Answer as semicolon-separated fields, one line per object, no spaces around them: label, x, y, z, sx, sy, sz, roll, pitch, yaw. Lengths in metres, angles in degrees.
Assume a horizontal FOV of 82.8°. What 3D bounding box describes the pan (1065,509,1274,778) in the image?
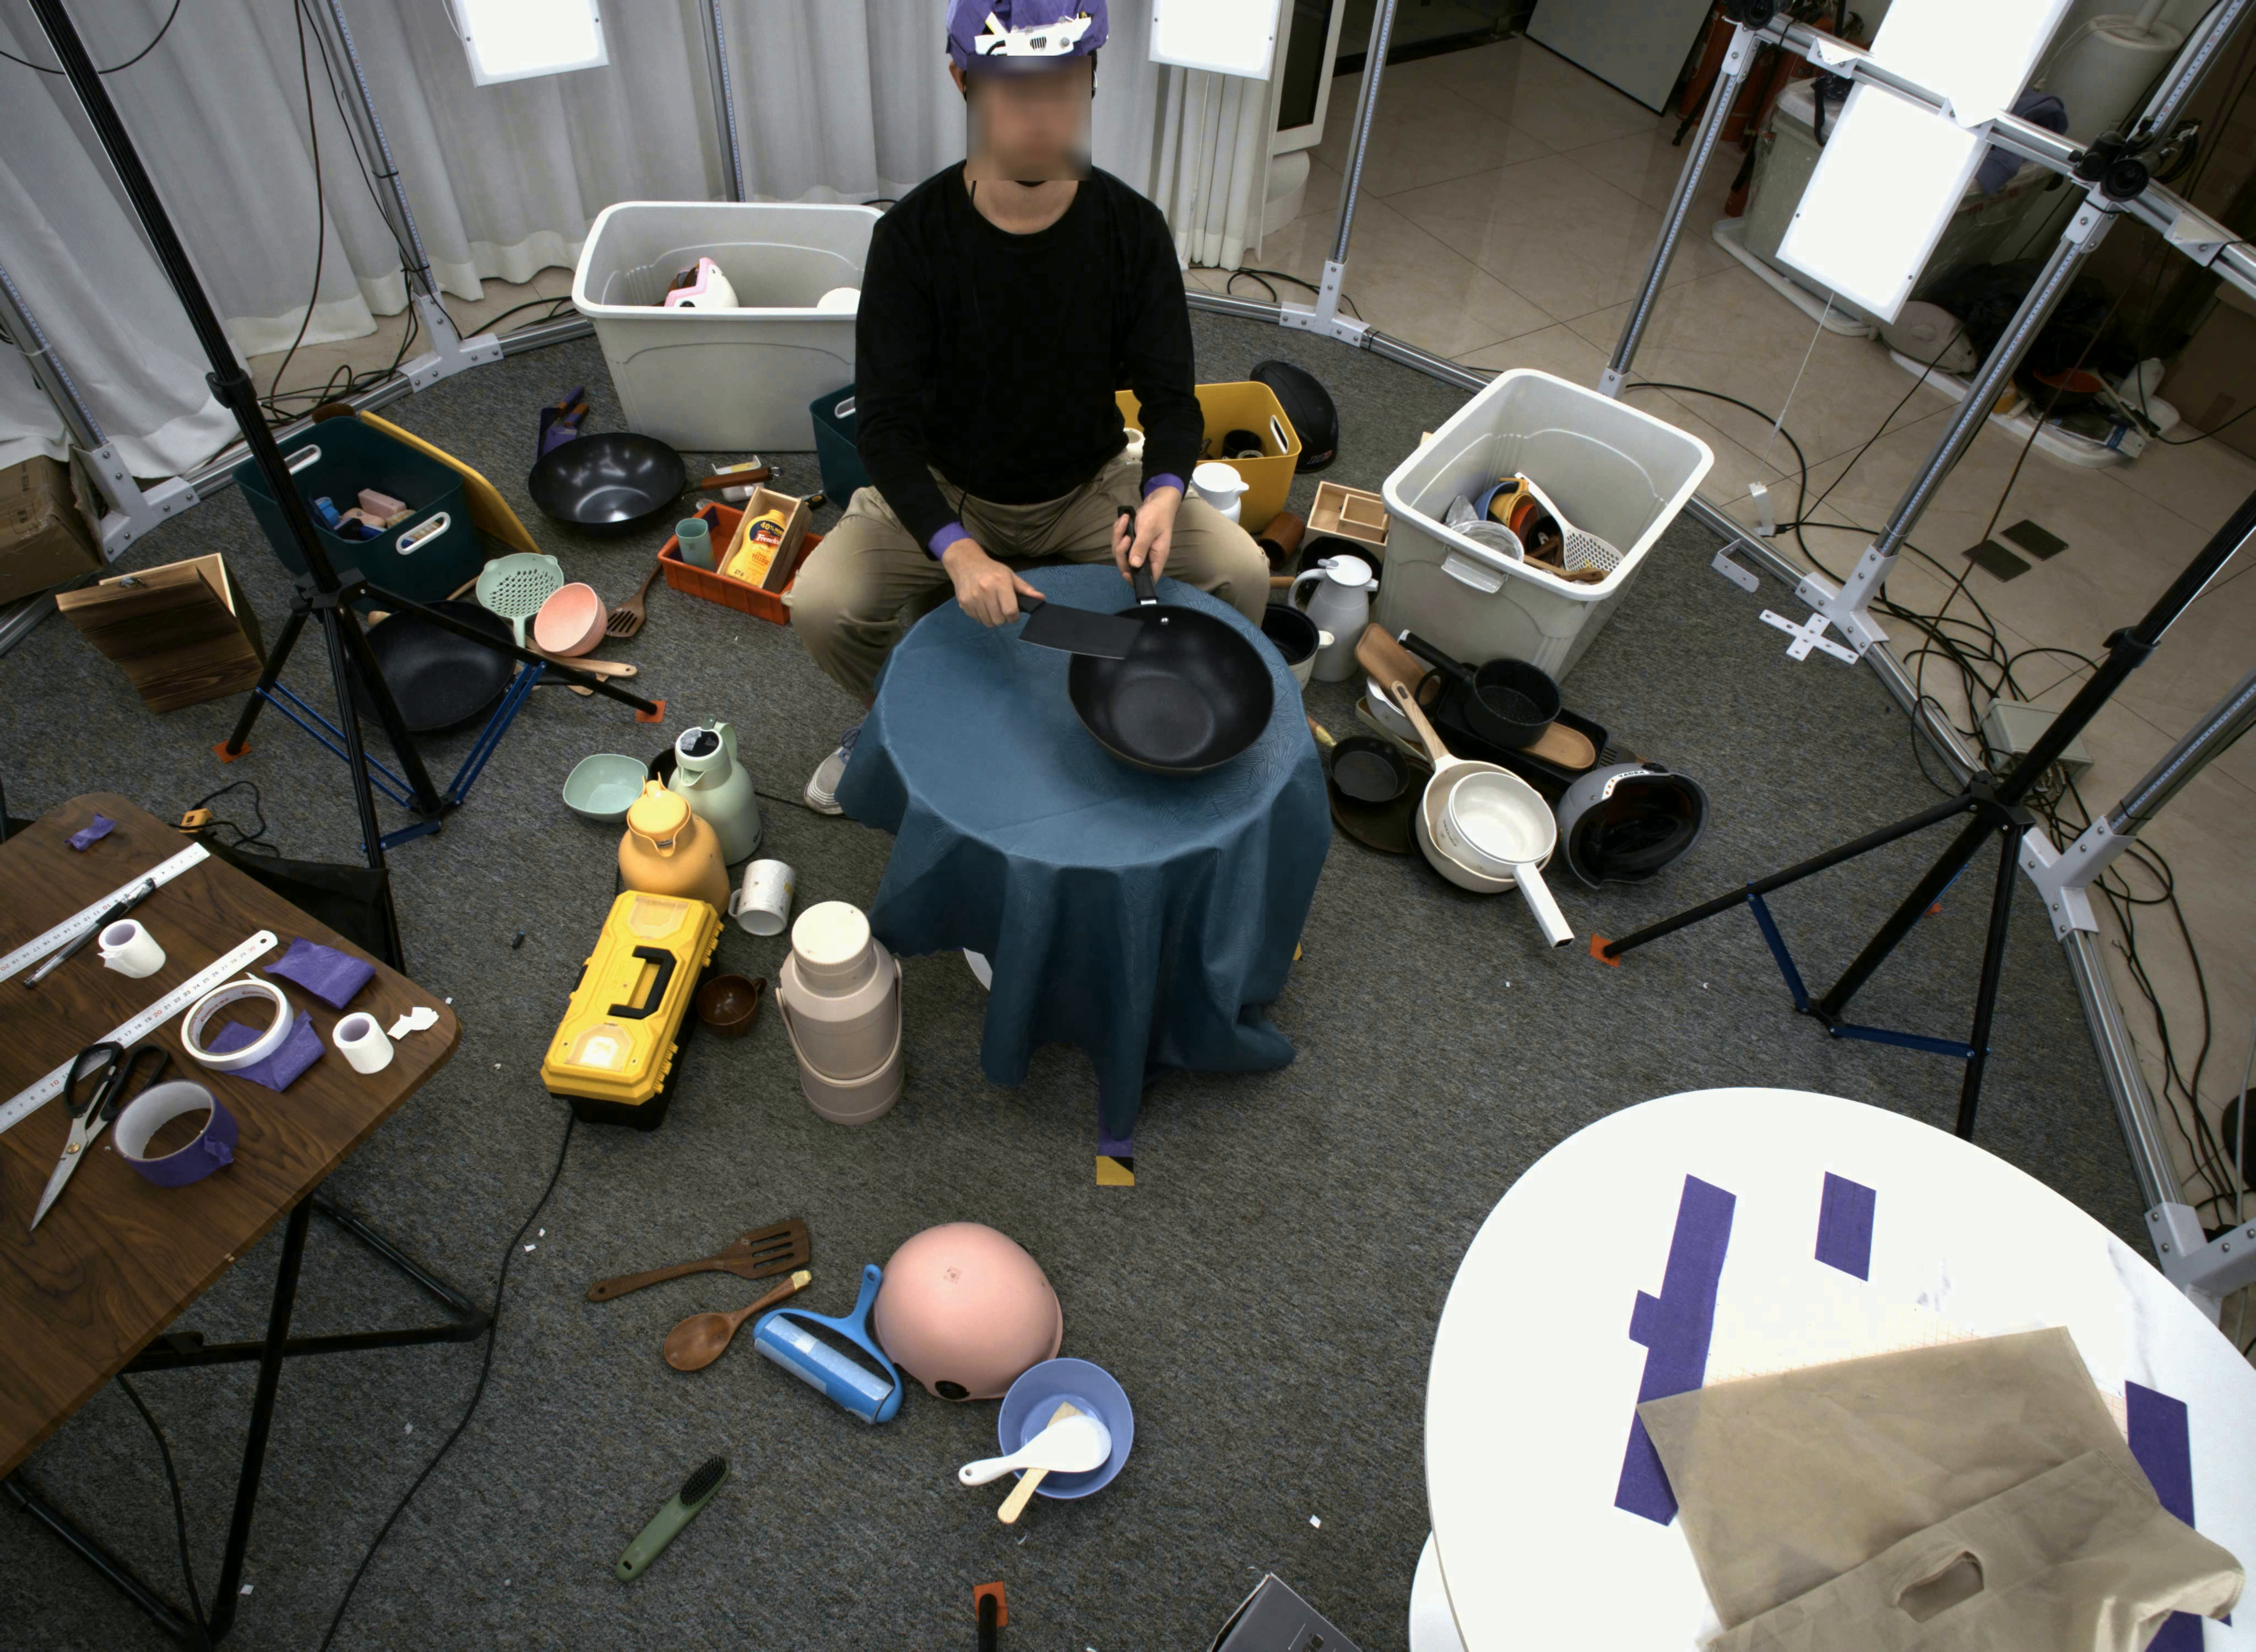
pan;0.036;-0.249;1.800;0.287;0.085;0.474;-5;59;-12

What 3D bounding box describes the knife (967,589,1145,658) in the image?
knife;-0.108;-0.281;1.763;0.306;0.020;0.081;22;72;35
